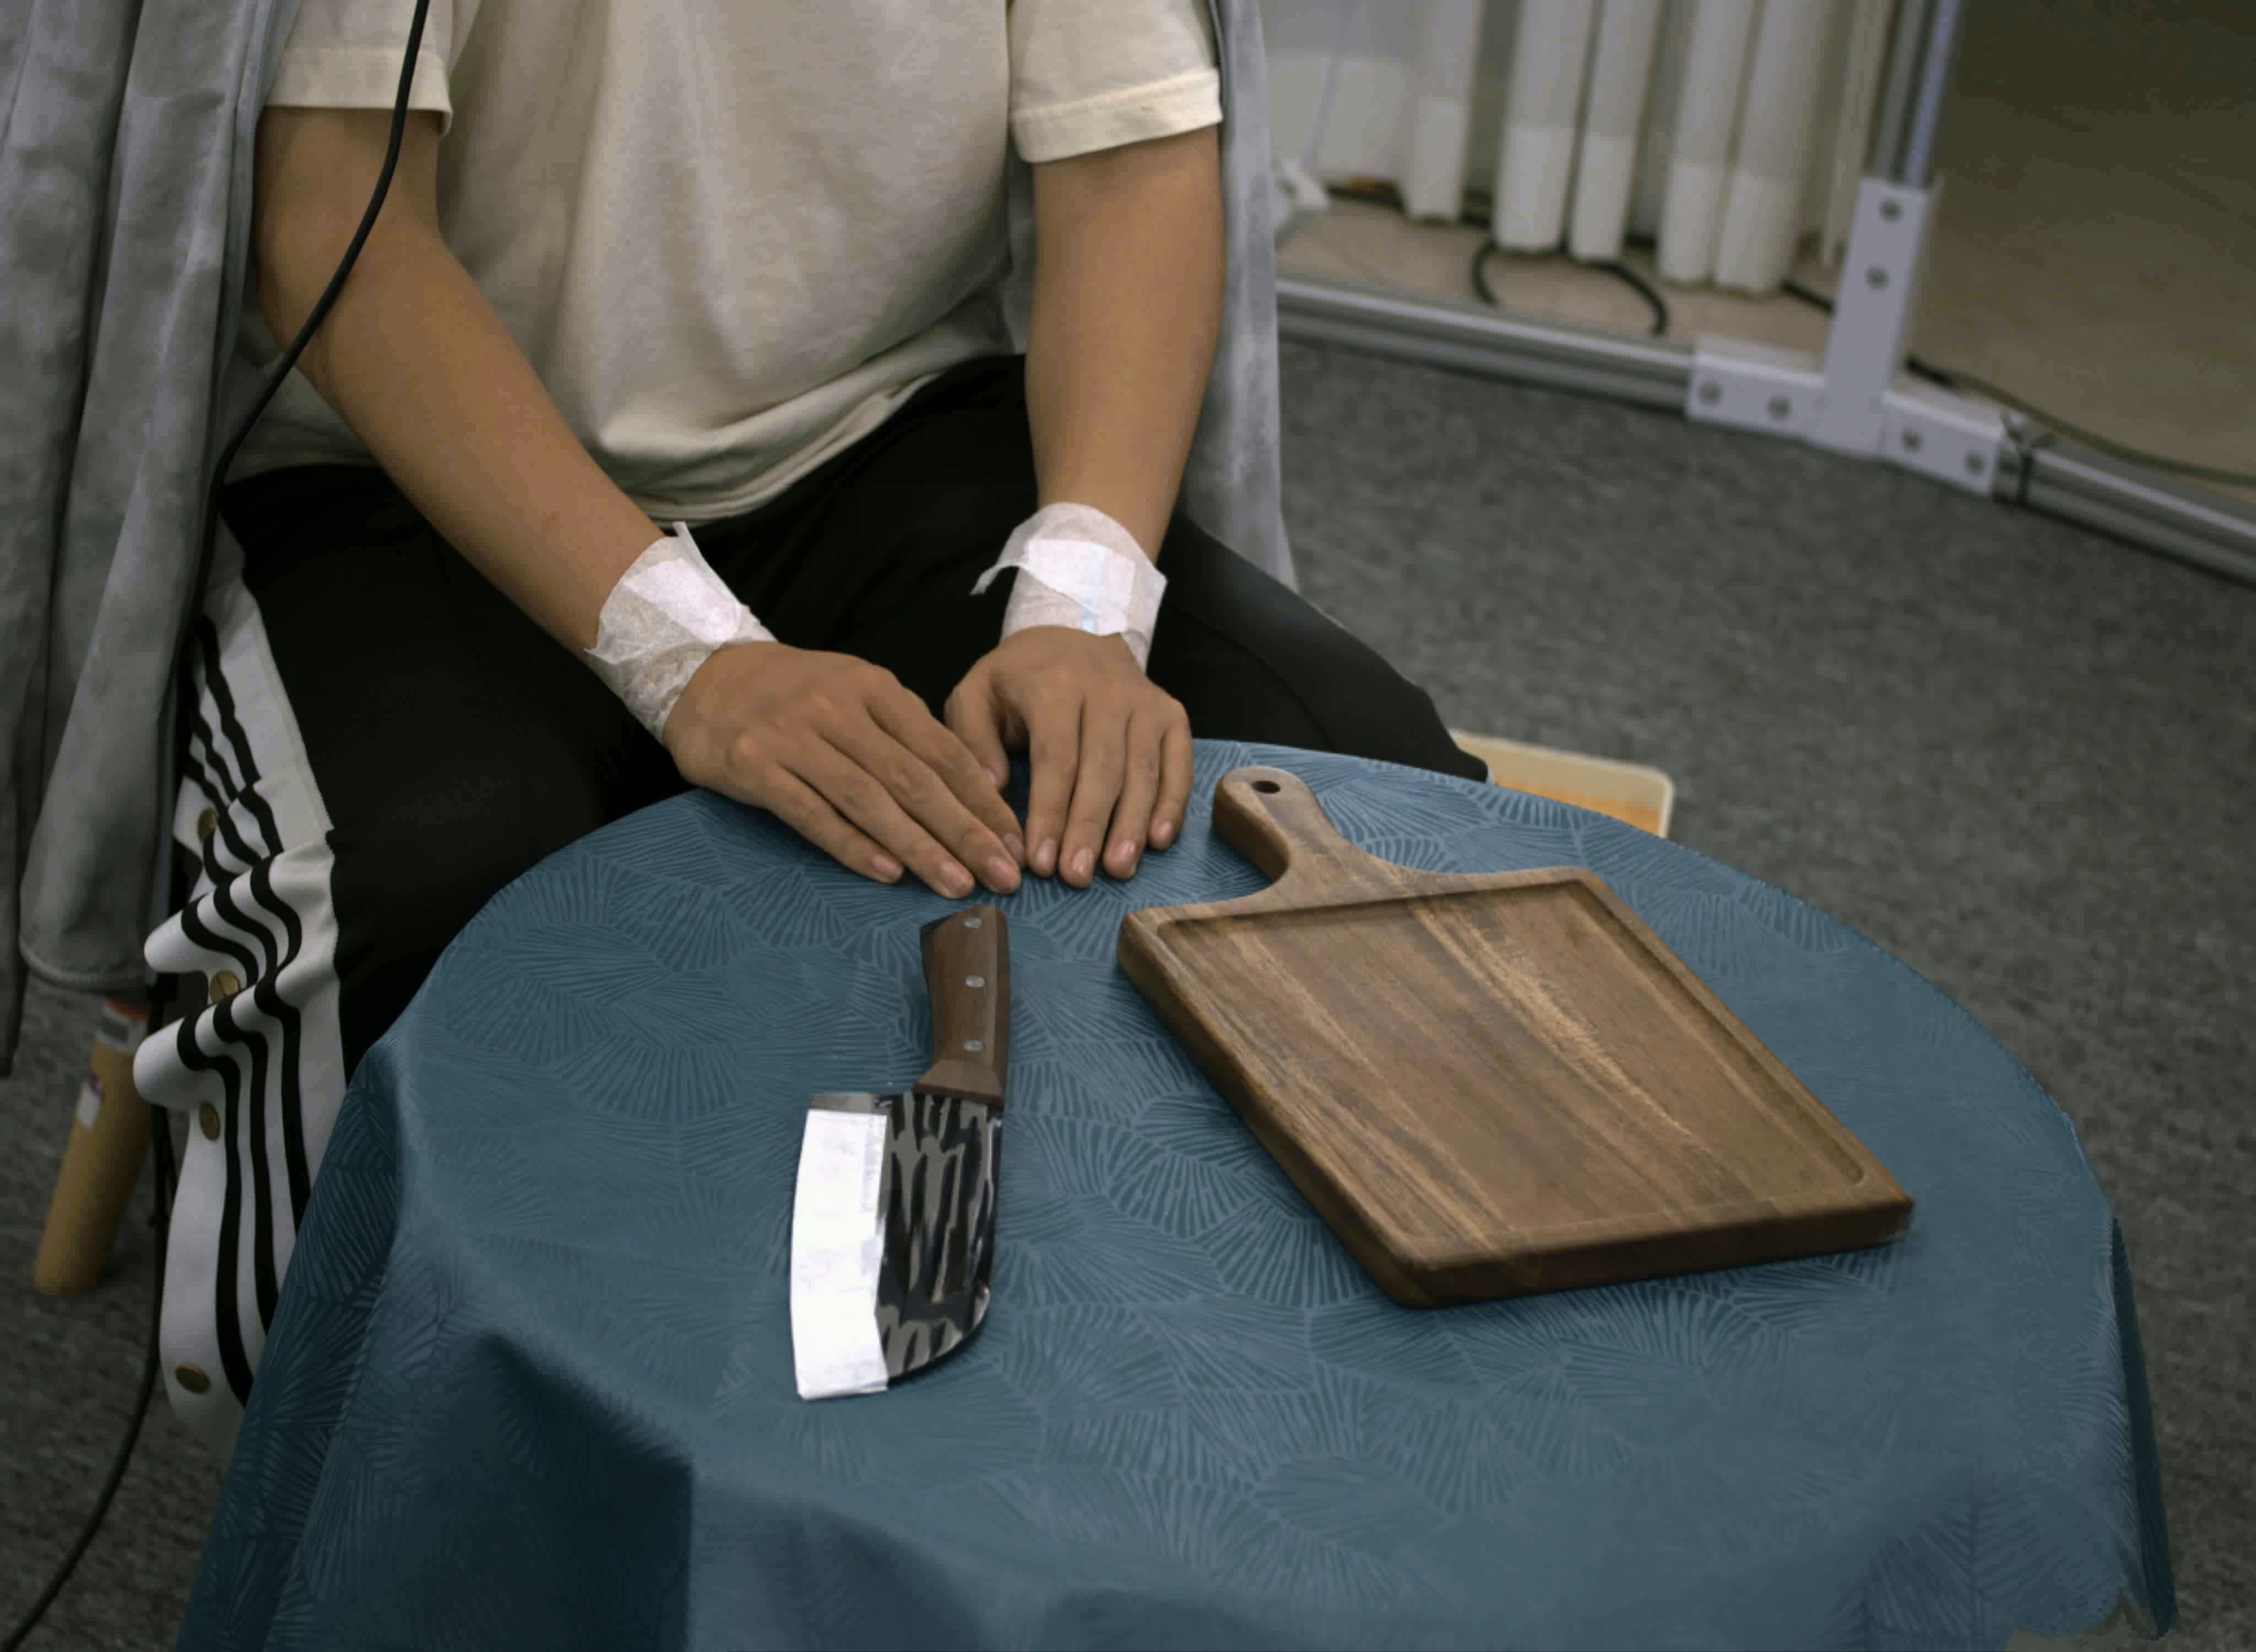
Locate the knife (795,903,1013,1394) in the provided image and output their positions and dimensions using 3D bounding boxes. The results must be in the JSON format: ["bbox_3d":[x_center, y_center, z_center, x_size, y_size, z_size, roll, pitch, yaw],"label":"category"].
[{"bbox_3d":[-0.075,0.107,1.801,0.068,0.024,0.301,4,29,0],"label":"knife"}]

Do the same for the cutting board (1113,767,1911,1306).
[{"bbox_3d":[0.112,0.064,1.925,0.200,0.023,0.355,-6,29,-23],"label":"cutting board"}]
